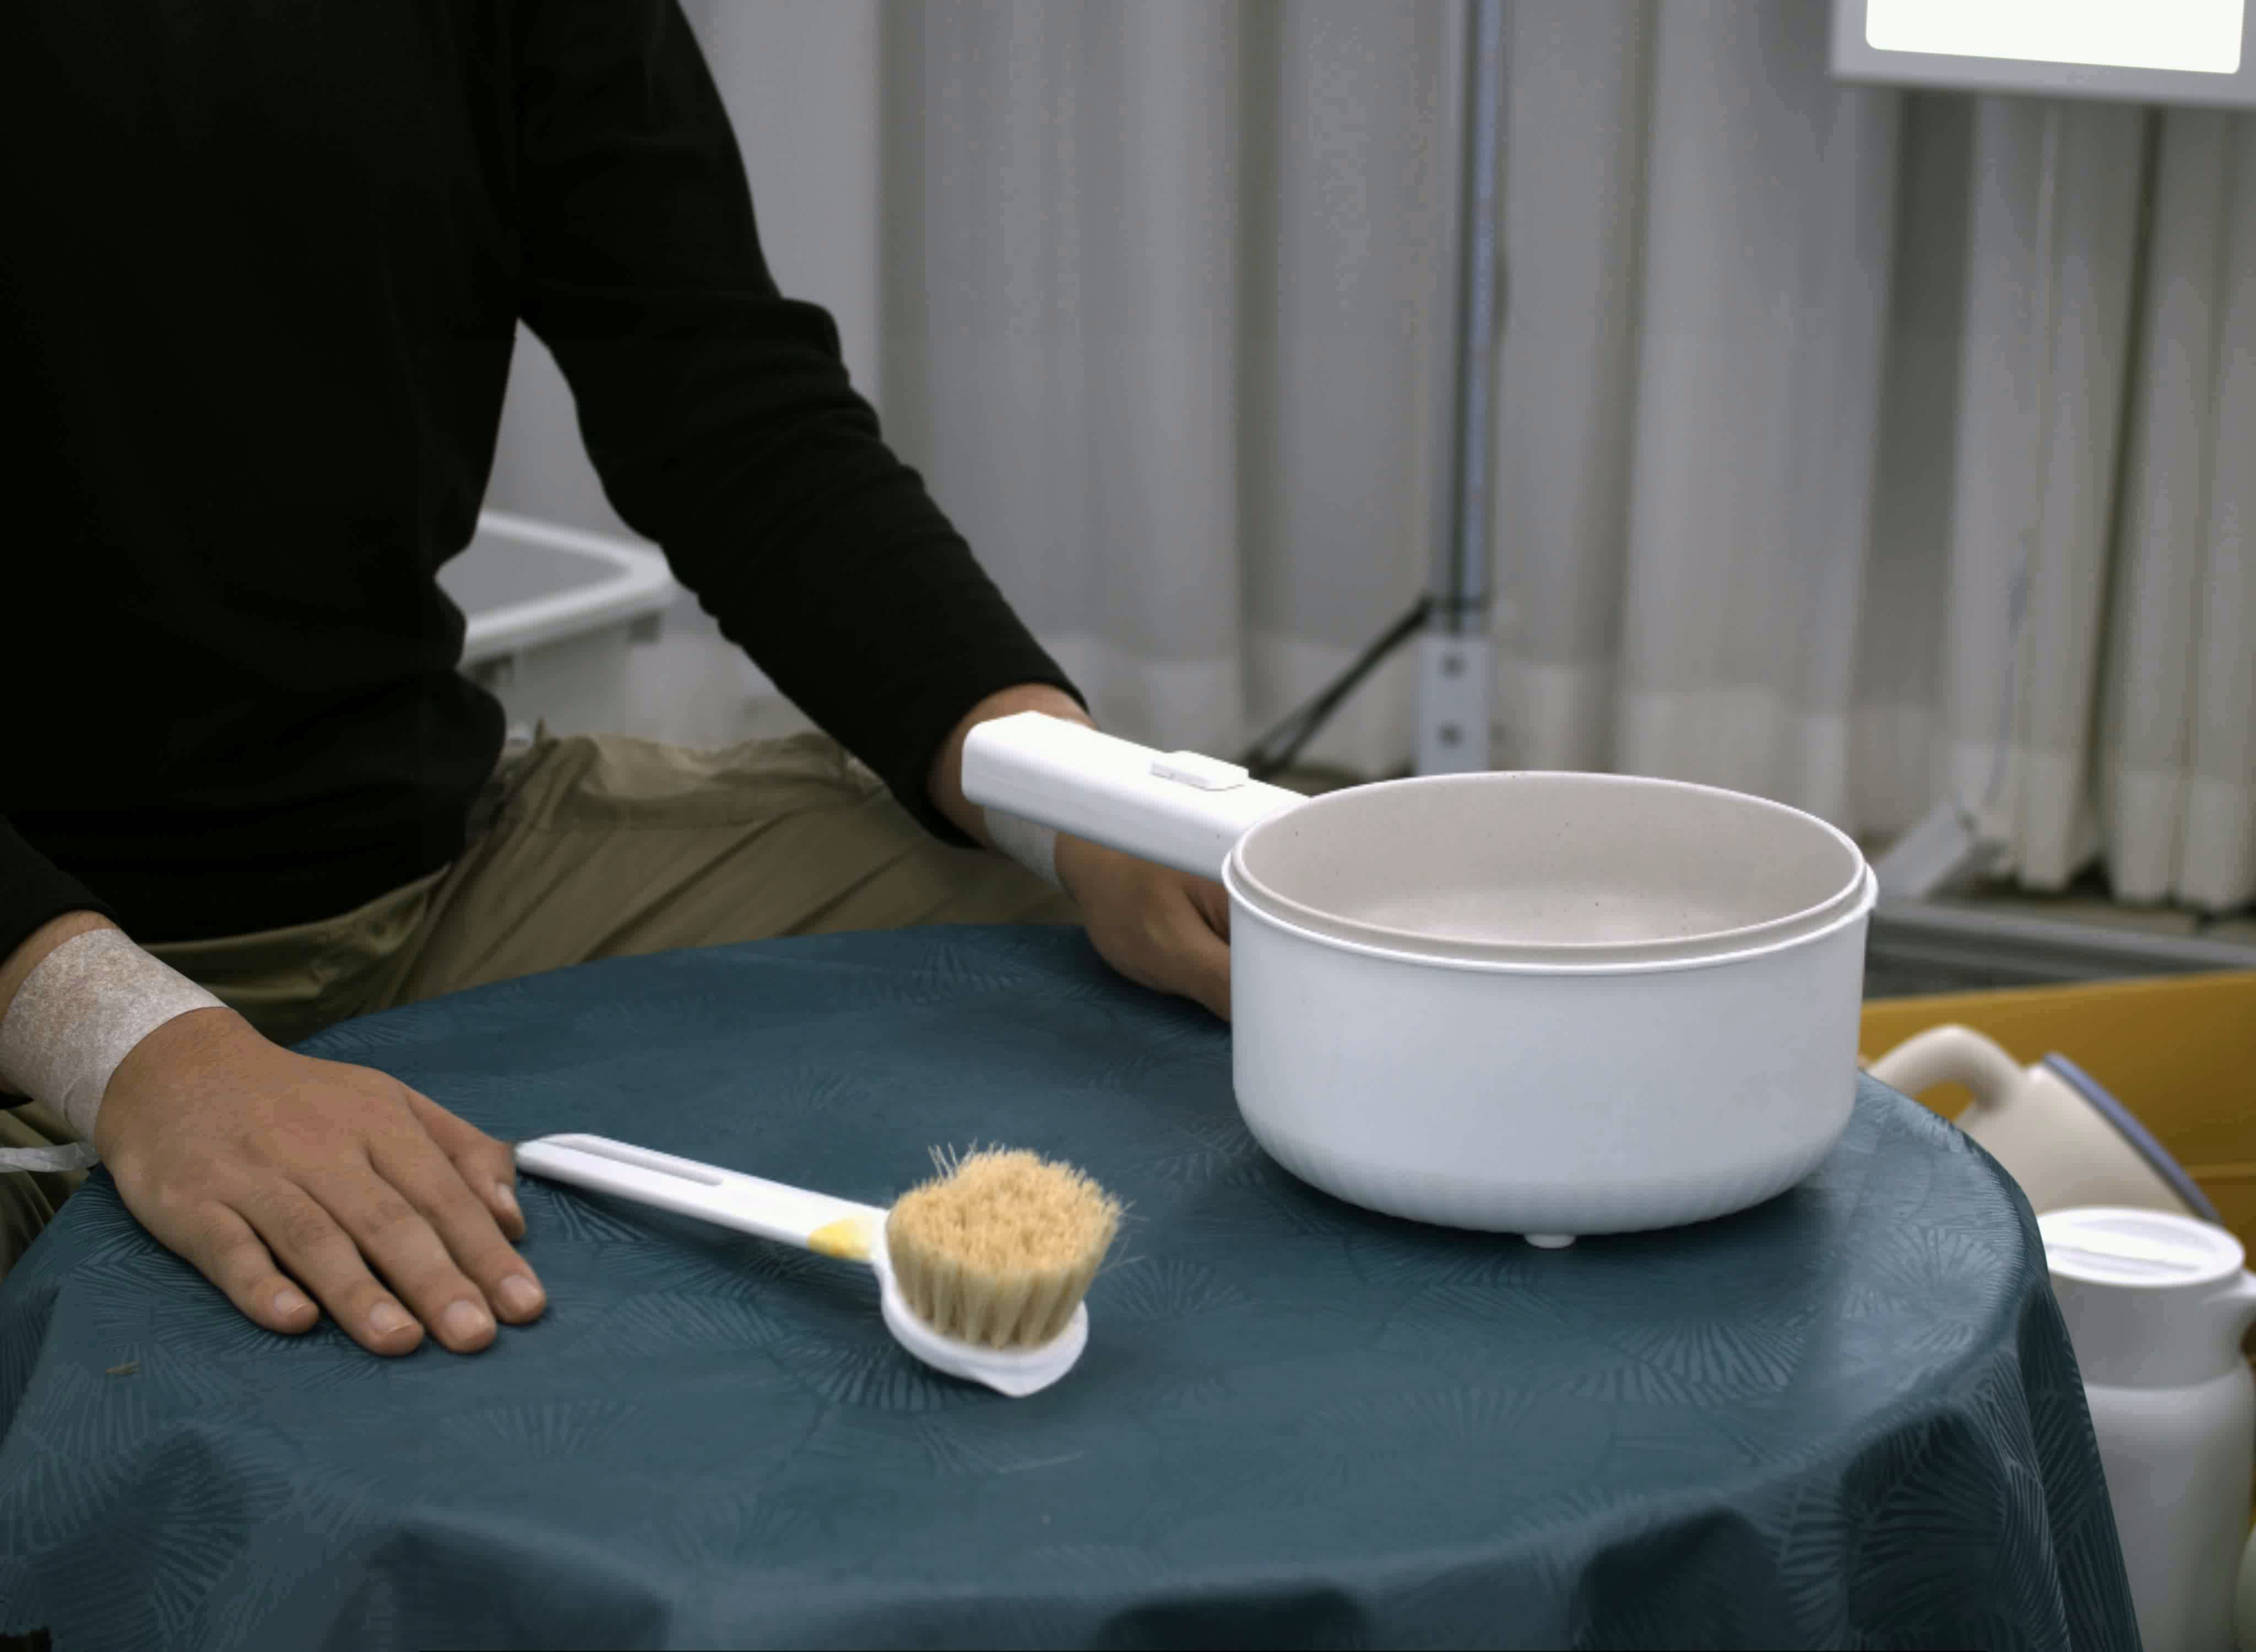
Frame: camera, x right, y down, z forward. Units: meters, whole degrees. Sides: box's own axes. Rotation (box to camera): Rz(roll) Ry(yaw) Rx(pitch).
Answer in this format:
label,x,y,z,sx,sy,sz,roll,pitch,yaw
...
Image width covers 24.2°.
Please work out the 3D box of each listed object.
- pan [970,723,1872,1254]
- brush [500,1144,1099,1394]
label,x,y,z,sx,sy,sz,roll,pitch,yaw
pan,0.077,0.045,1.689,0.202,0.103,0.350,-15,21,-41
brush,-0.106,0.105,1.542,0.069,0.056,0.263,-7,15,-39
